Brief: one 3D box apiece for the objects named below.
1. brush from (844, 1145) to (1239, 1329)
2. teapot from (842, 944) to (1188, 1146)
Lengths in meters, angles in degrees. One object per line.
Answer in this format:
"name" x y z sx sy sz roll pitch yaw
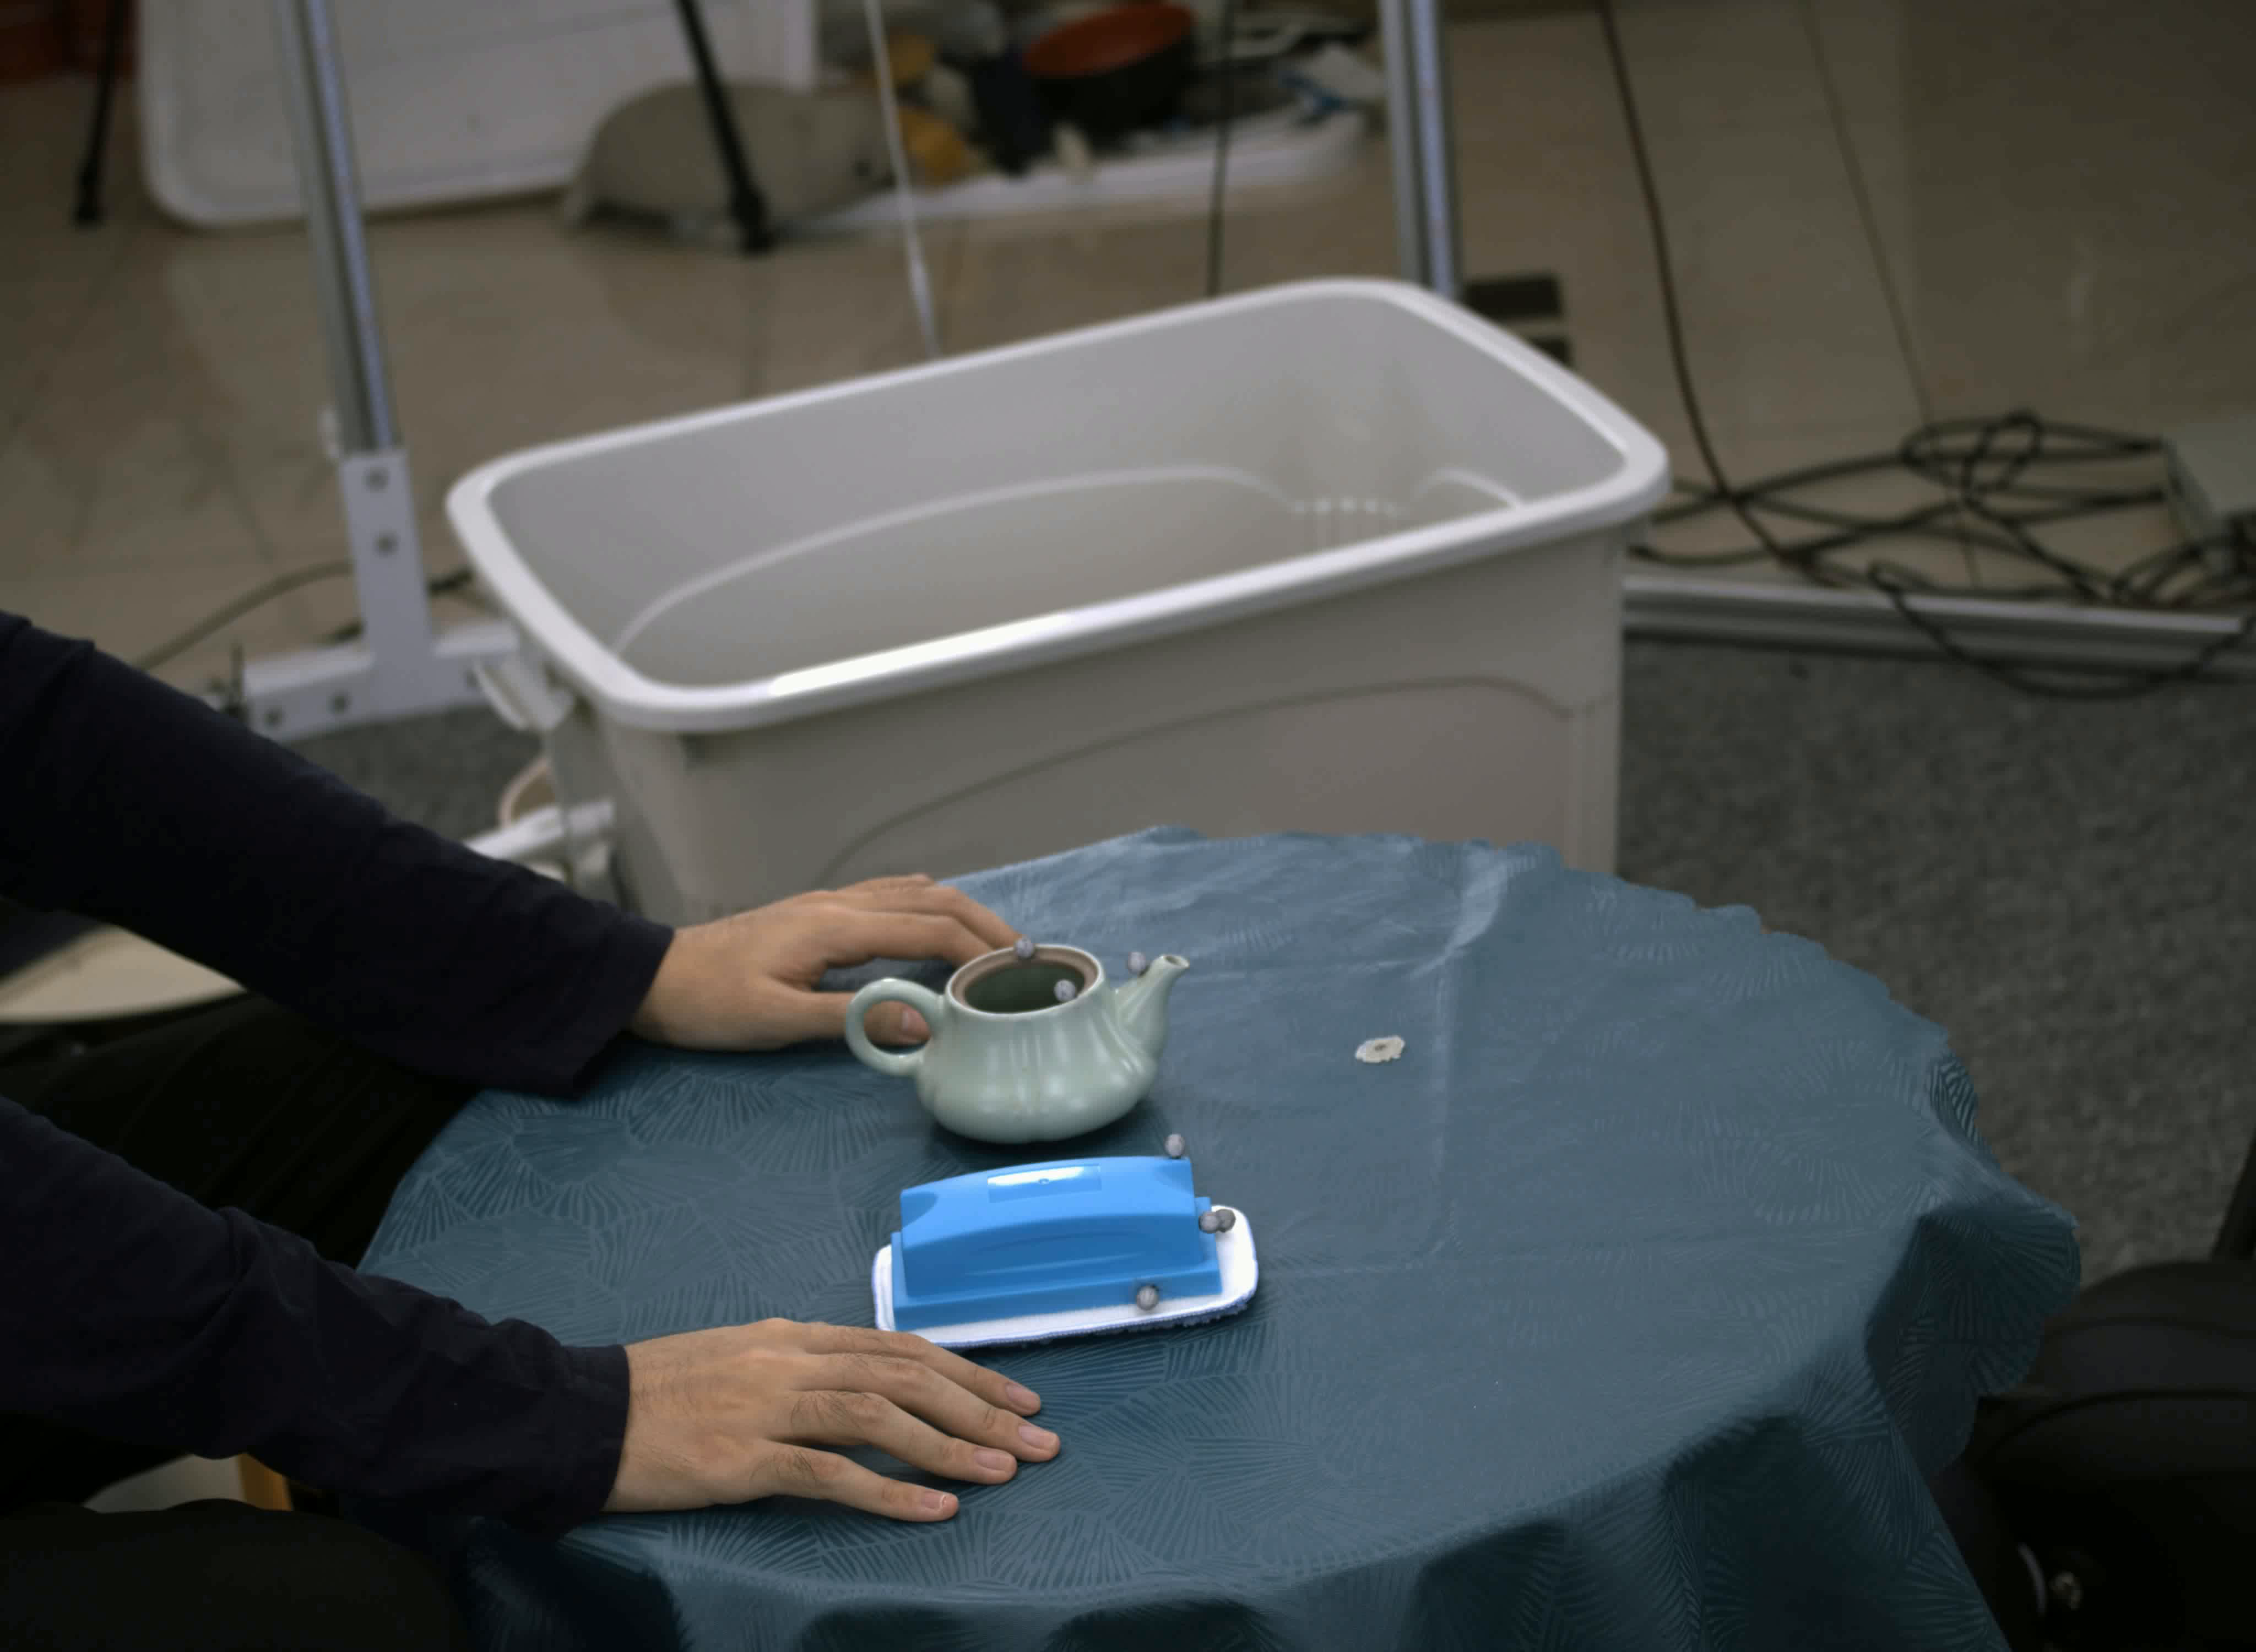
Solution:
"brush" -0.032 0.146 2.066 0.144 0.057 0.083 -3 22 1
"teapot" -0.042 0.084 2.205 0.137 0.062 0.094 -5 27 1
